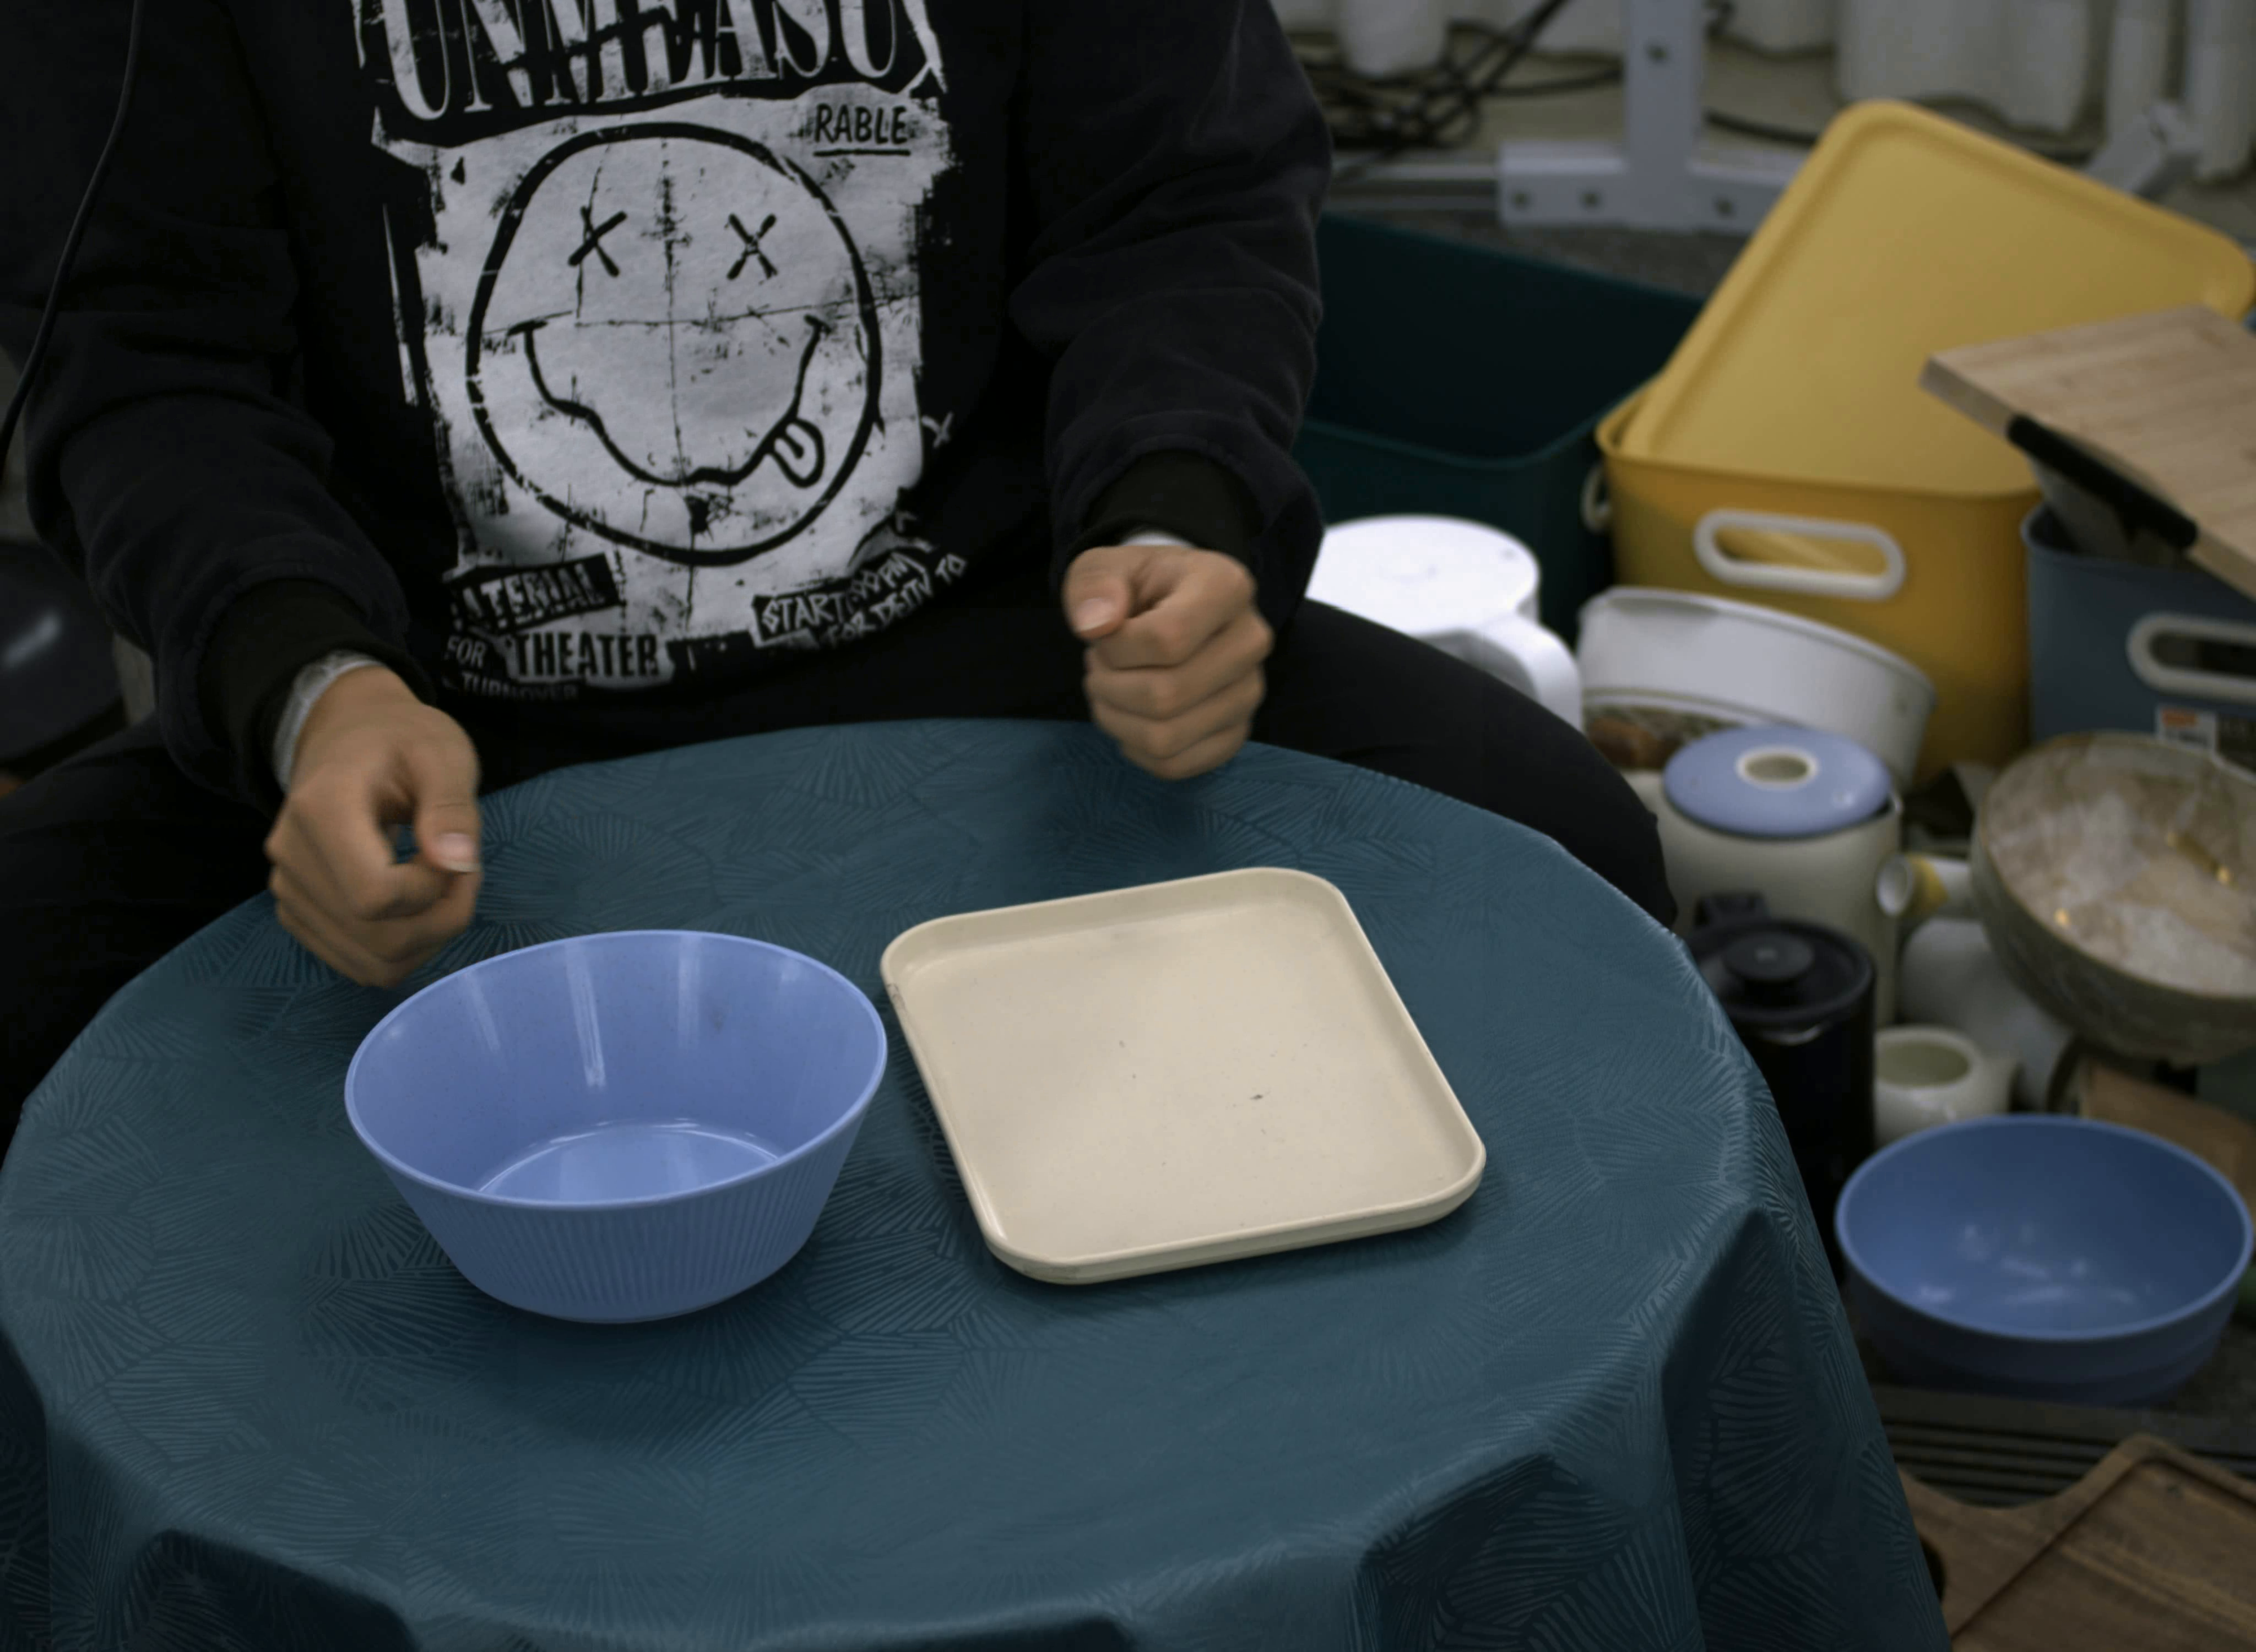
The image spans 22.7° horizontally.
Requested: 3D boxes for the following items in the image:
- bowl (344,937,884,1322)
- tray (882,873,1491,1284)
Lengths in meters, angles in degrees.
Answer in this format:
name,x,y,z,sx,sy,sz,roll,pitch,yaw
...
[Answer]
name,x,y,z,sx,sy,sz,roll,pitch,yaw
bowl,-0.165,0.105,1.833,0.175,0.069,0.179,-1,27,1
tray,0.016,0.085,1.912,0.171,0.017,0.242,-8,27,-11
